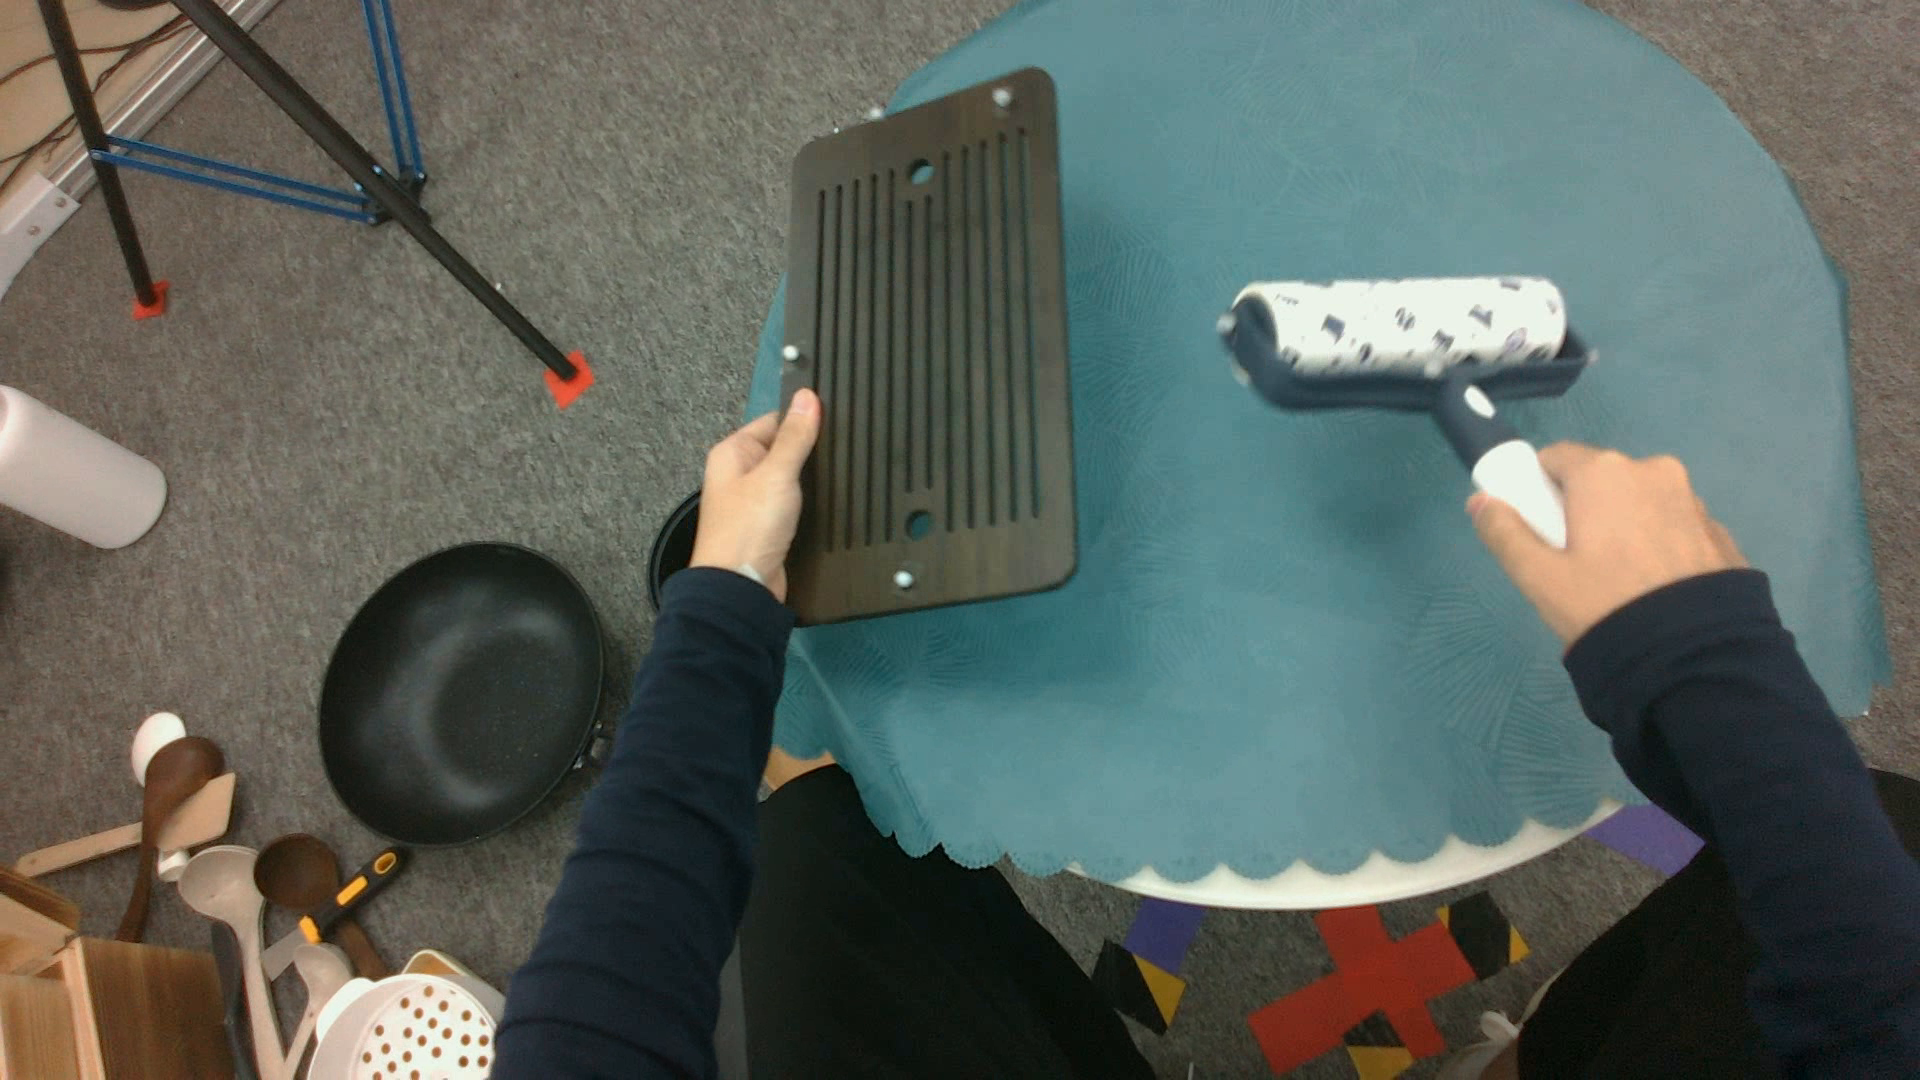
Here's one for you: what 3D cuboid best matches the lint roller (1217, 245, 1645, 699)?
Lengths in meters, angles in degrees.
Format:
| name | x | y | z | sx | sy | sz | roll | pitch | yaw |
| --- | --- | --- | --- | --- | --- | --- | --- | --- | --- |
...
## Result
| name | x | y | z | sx | sy | sz | roll | pitch | yaw |
| --- | --- | --- | --- | --- | --- | --- | --- | --- | --- |
| lint roller | 0.235 | -0.042 | 0.609 | 0.176 | 0.050 | 0.248 | -4 | 51 | -20 |

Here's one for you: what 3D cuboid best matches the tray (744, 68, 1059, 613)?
| name | x | y | z | sx | sy | sz | roll | pitch | yaw |
| --- | --- | --- | --- | --- | --- | --- | --- | --- | --- |
| tray | -0.029 | -0.112 | 0.742 | 0.170 | 0.018 | 0.307 | -8 | 67 | 20 |
